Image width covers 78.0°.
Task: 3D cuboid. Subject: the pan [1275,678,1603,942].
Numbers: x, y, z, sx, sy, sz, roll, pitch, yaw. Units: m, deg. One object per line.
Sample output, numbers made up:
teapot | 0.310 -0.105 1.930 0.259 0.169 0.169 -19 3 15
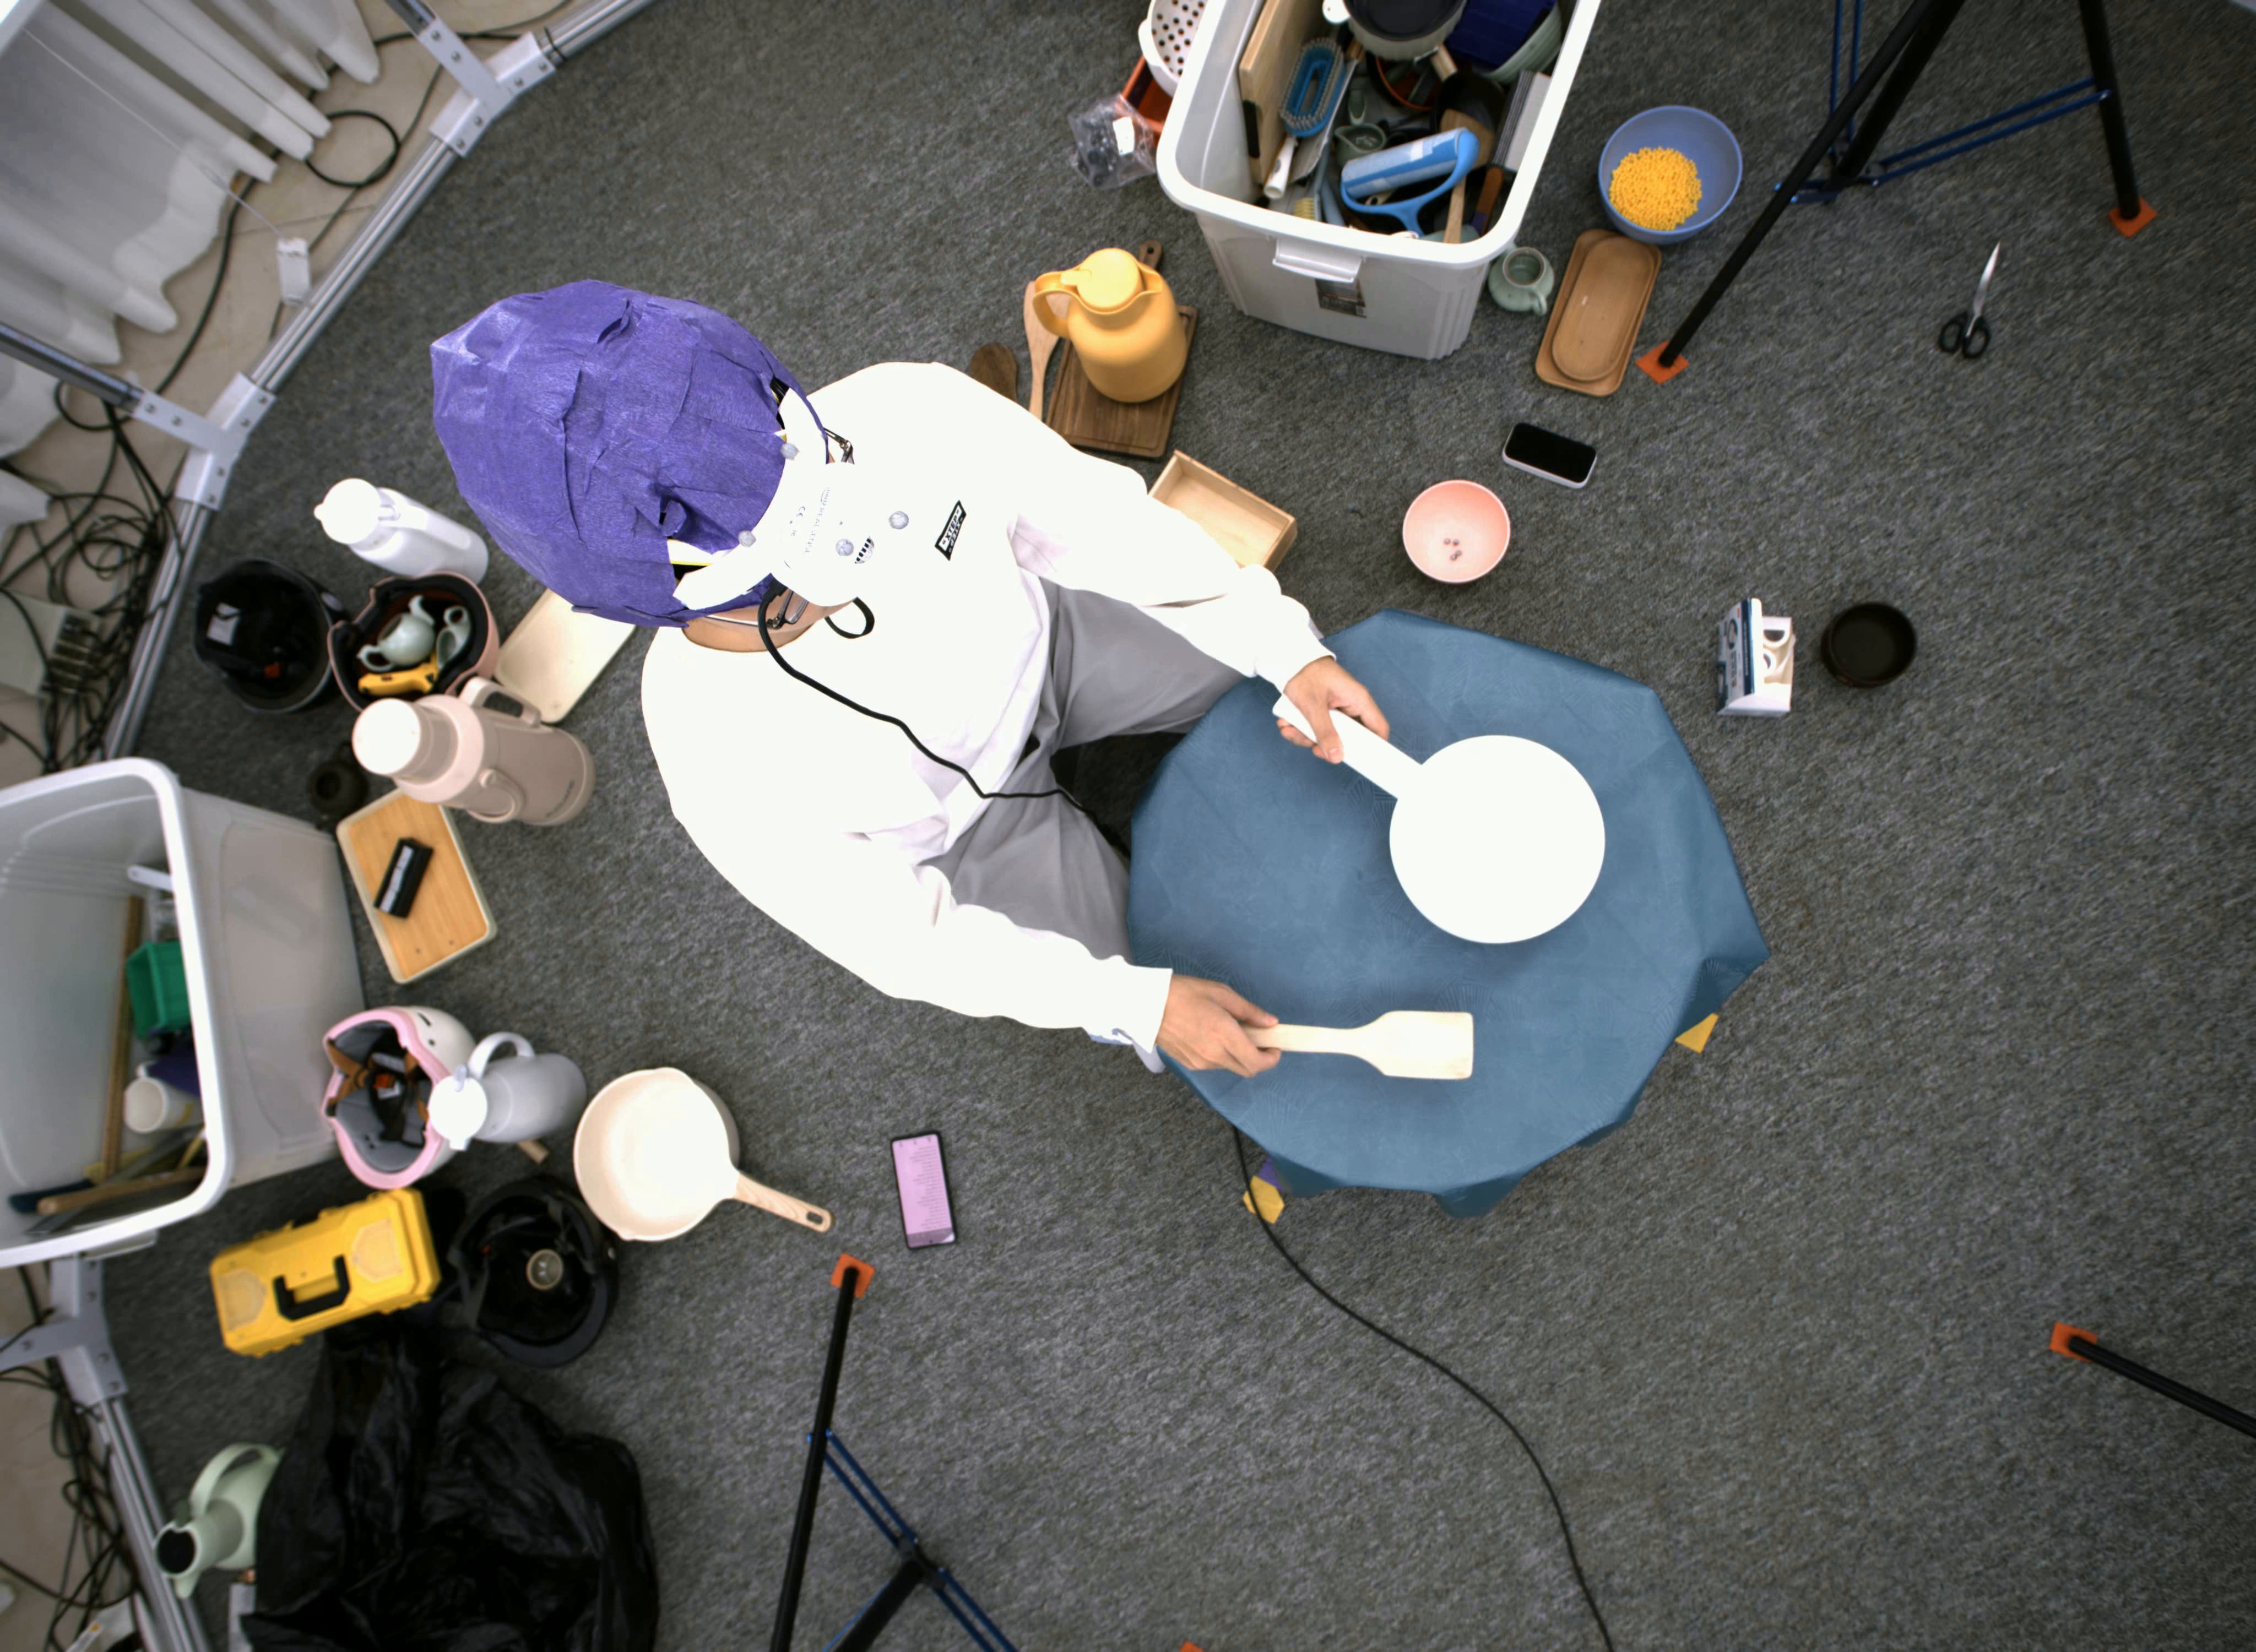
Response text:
pan | 0.303 -0.028 1.388 0.353 0.102 0.201 36 93 13

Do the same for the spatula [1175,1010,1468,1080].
spatula | 0.192 0.212 1.391 0.294 0.011 0.070 1 61 13
